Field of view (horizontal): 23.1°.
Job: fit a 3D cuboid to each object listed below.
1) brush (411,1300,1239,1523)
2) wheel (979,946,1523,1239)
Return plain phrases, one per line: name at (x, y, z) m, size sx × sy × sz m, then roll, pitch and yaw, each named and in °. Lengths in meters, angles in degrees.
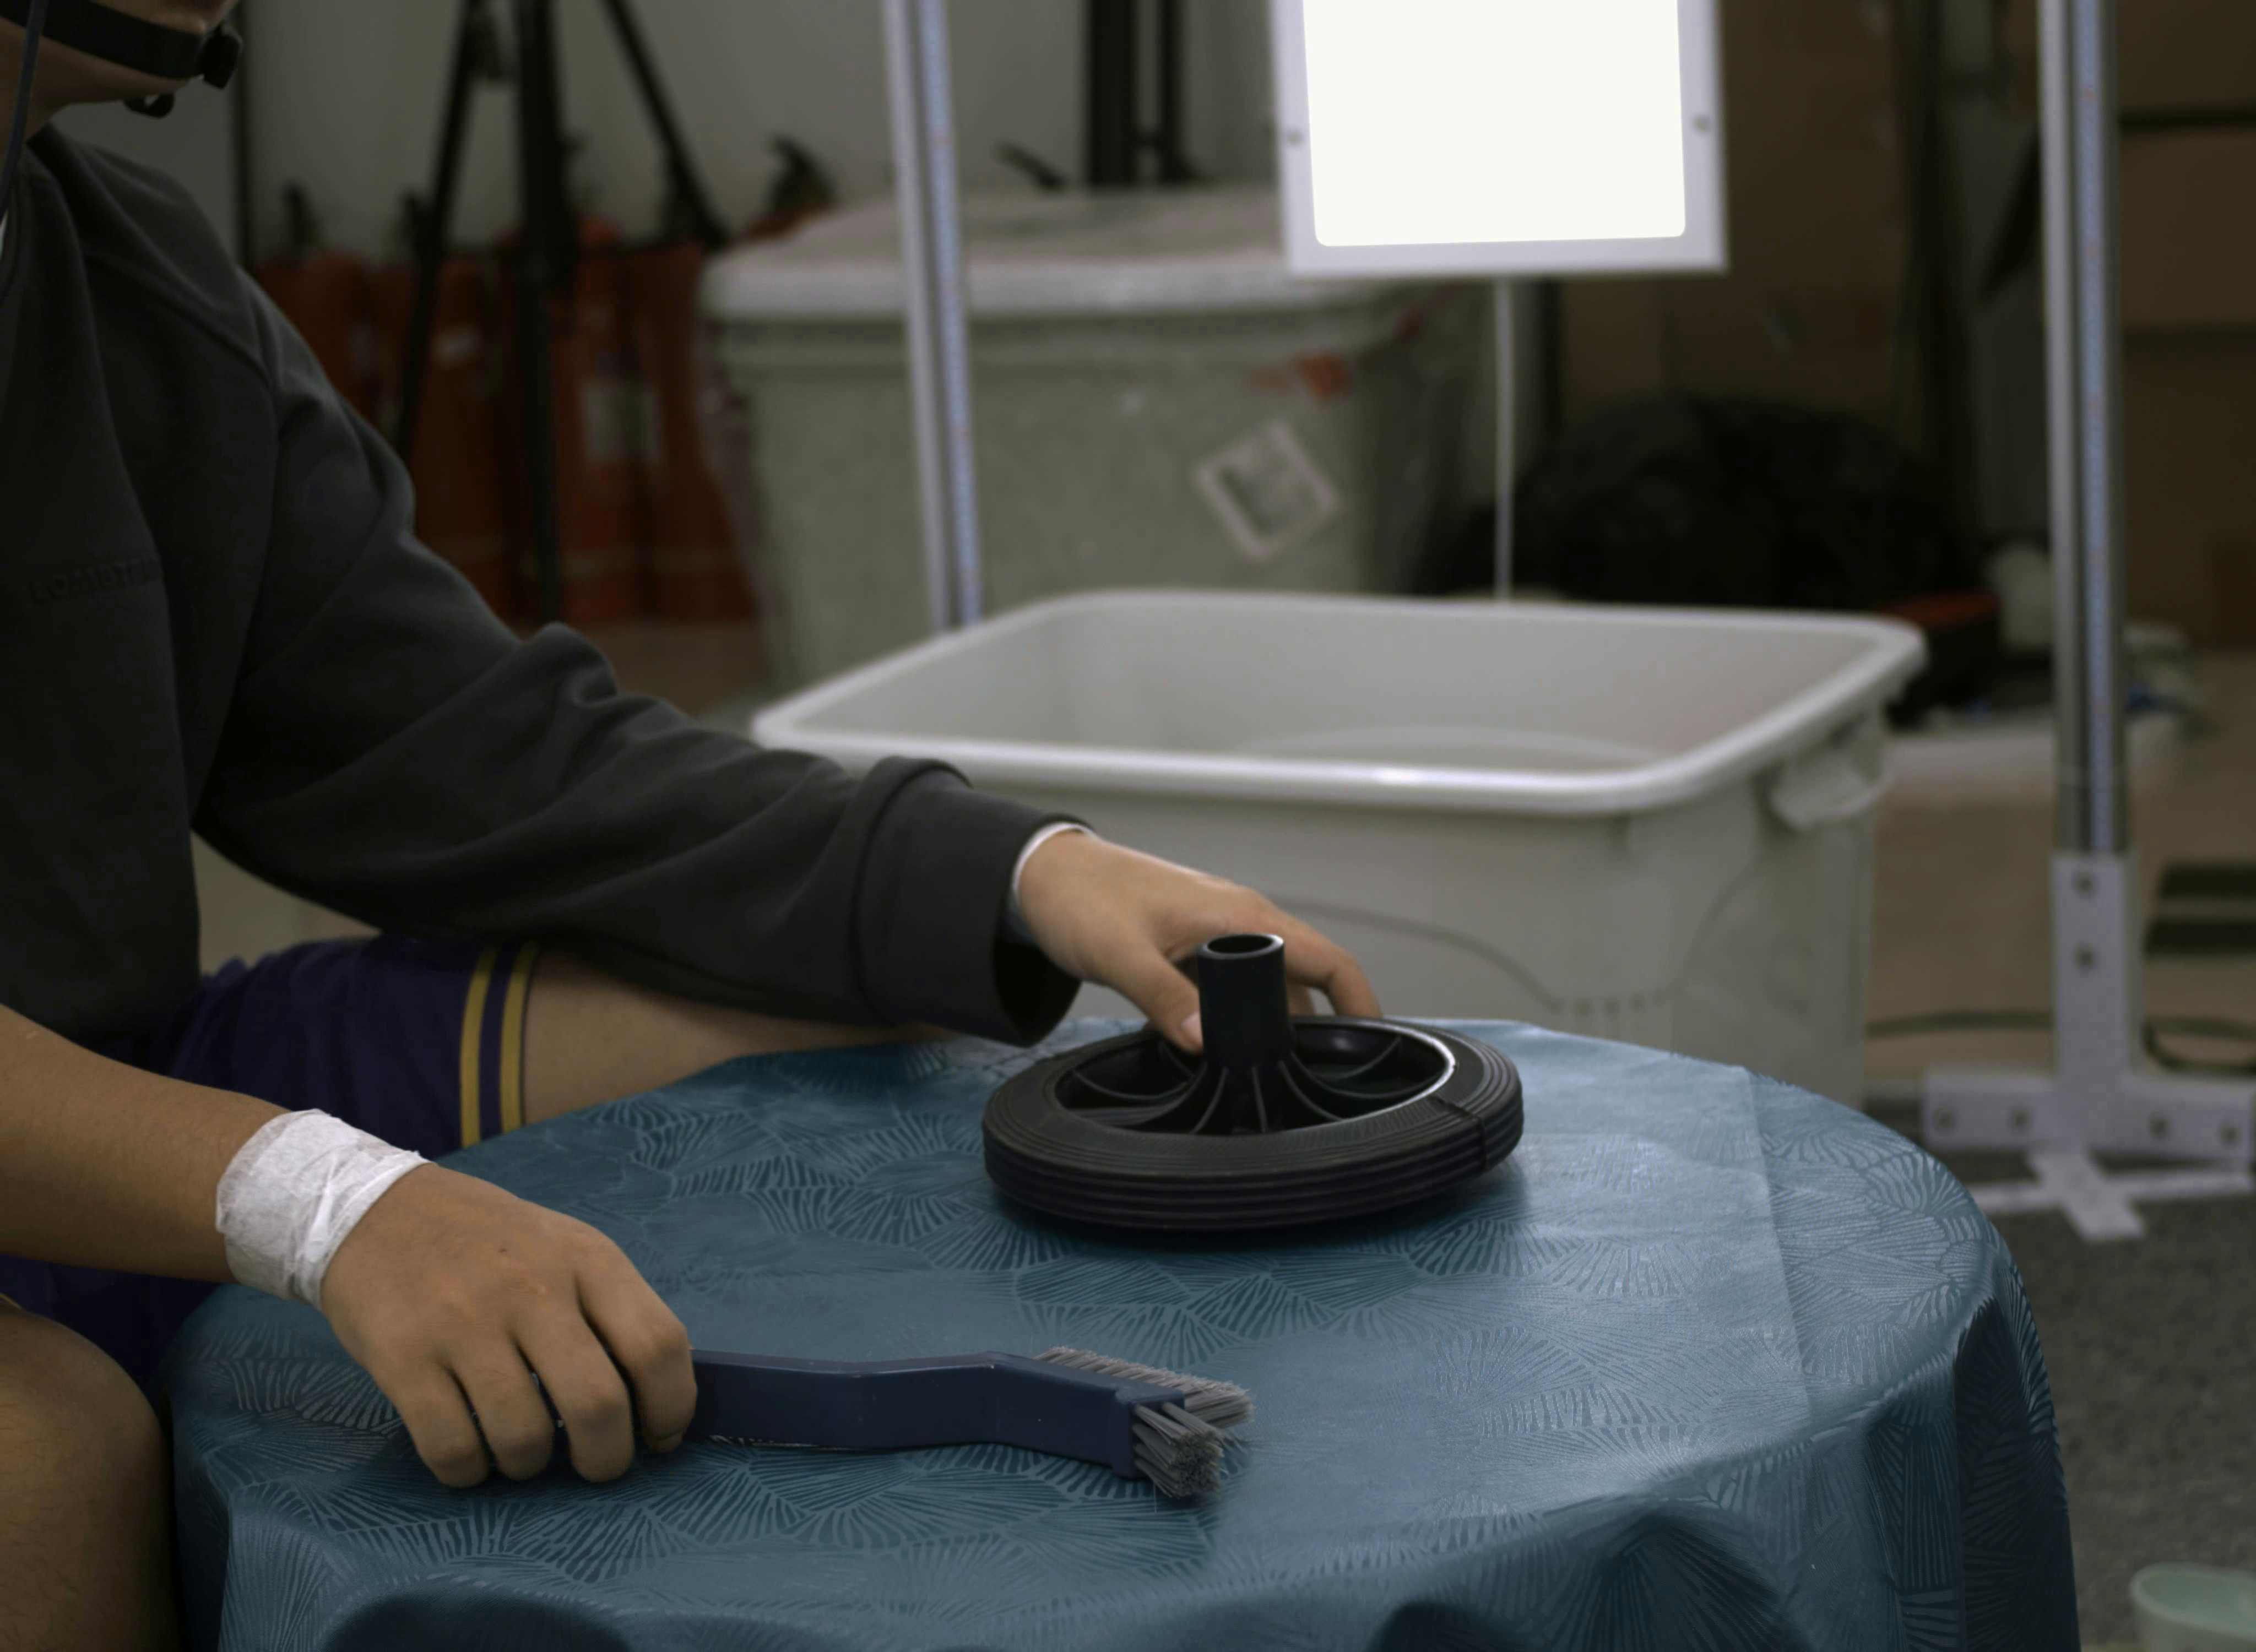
brush at (-0.101, 0.175, 1.670) m, size 0.276 × 0.033 × 0.094 m, roll 1°, pitch 15°, yaw 18°
wheel at (0.041, 0.083, 1.897) m, size 0.187 × 0.079 × 0.189 m, roll -10°, pitch 15°, yaw -17°
